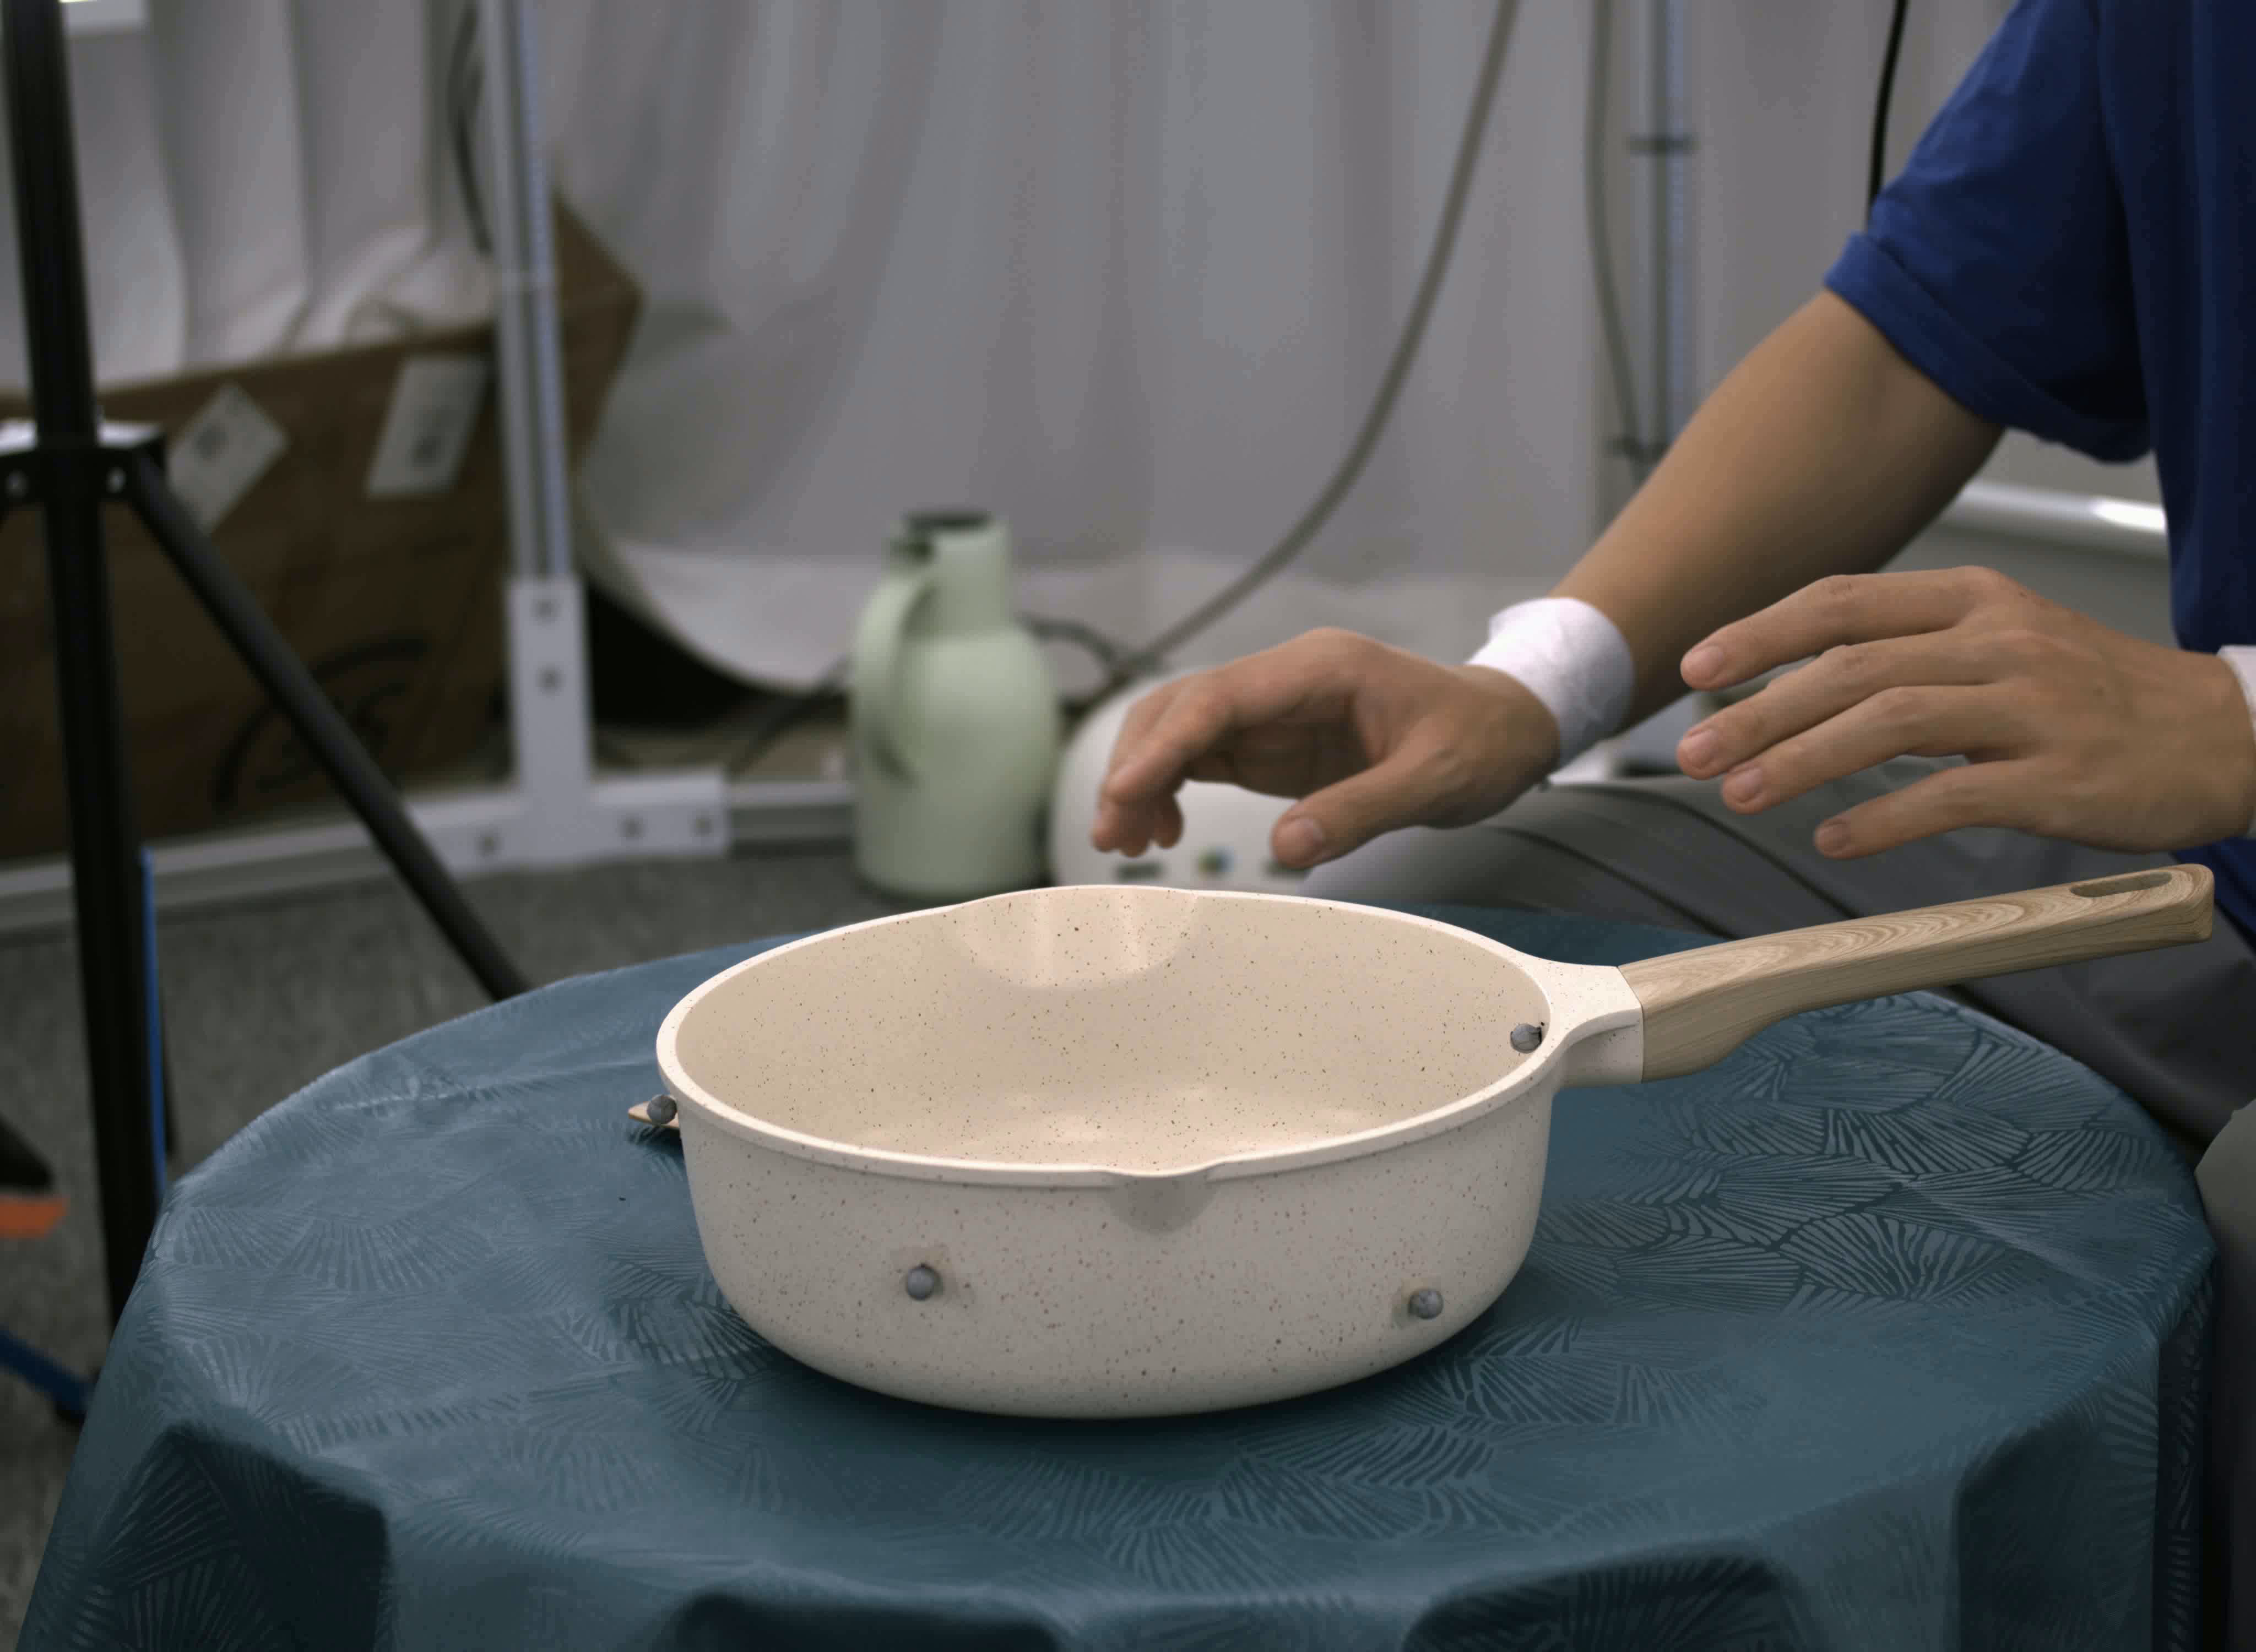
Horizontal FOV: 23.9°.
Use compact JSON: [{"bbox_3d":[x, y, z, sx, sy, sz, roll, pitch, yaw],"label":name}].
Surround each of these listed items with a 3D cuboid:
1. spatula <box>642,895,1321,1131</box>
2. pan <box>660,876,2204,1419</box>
[{"bbox_3d":[-0.034,0.061,1.711,0.074,0.010,0.286,9,20,40],"label":"spatula"},{"bbox_3d":[0.089,0.079,1.464,0.431,0.102,0.265,-3,14,-5],"label":"pan"}]
